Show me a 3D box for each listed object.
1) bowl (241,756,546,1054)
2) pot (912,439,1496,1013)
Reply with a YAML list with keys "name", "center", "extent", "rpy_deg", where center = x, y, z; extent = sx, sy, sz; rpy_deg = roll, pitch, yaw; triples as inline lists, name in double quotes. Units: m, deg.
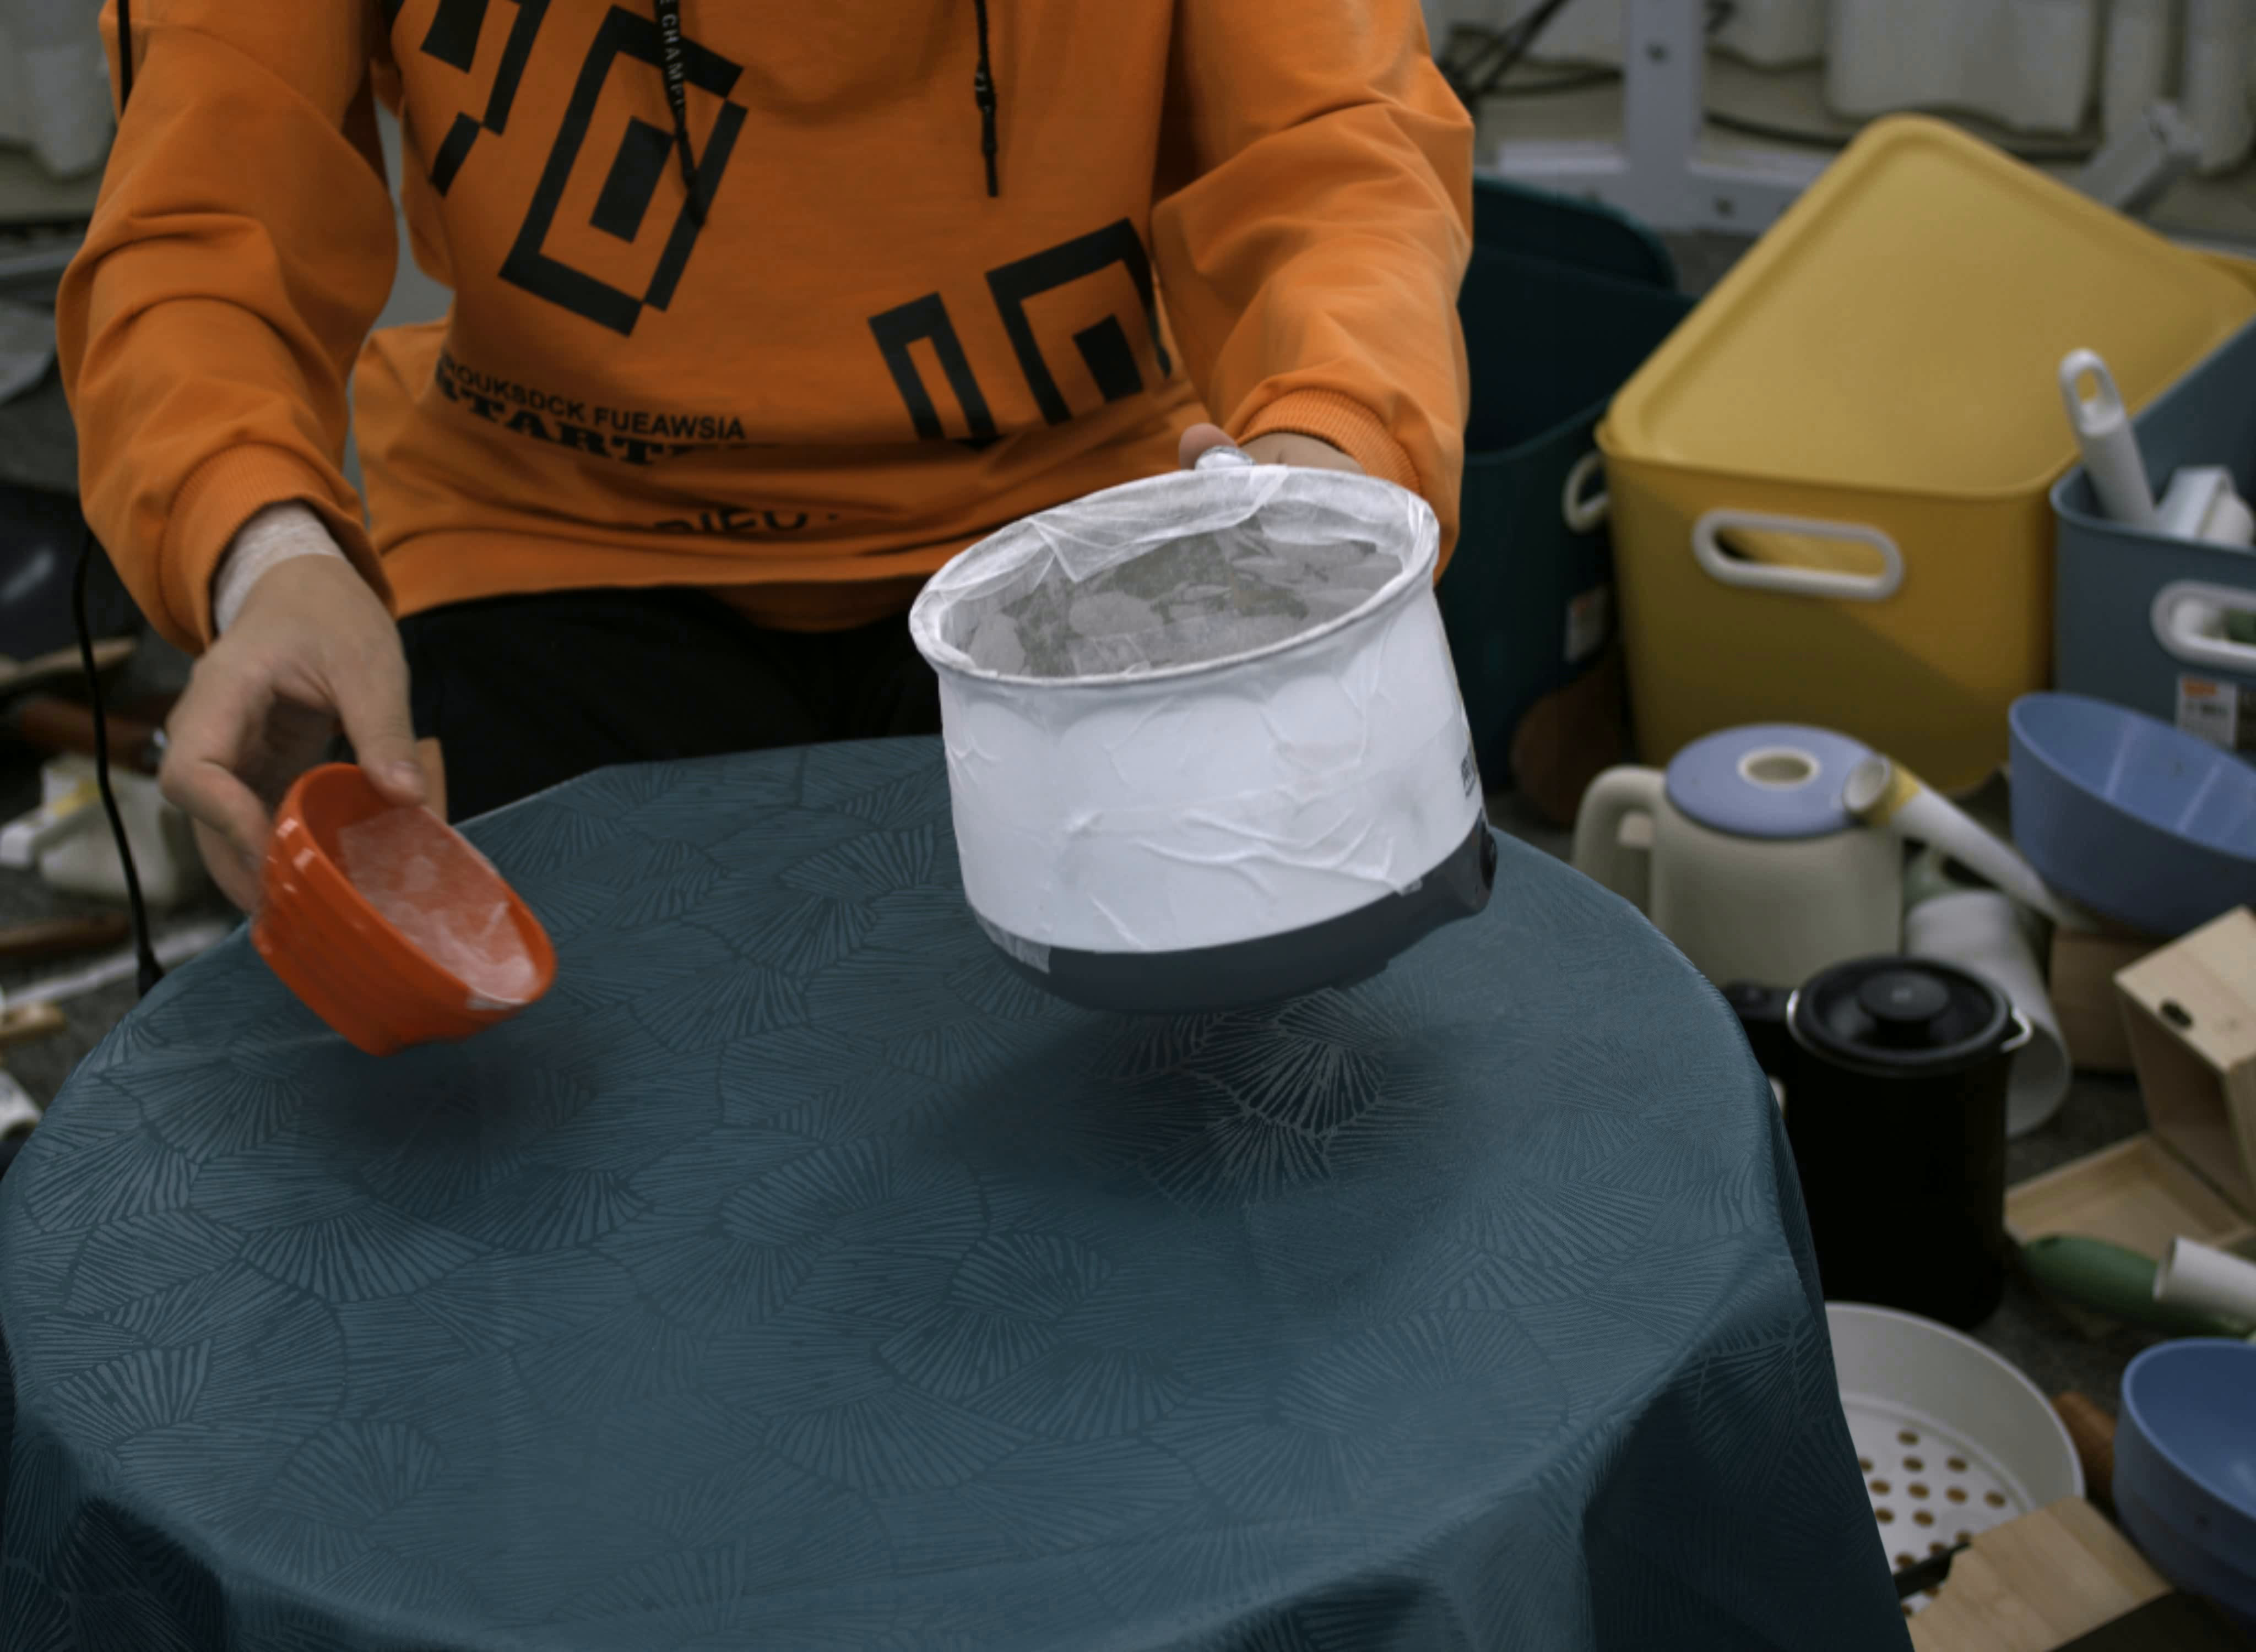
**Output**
- name: "bowl"
  center: [-0.256, 0.034, 1.905]
  extent: [0.118, 0.051, 0.120]
  rpy_deg: [40, 16, -12]
- name: "pot"
  center: [0.030, -0.040, 1.893]
  extent: [0.177, 0.135, 0.237]
  rpy_deg: [-6, 23, 11]
